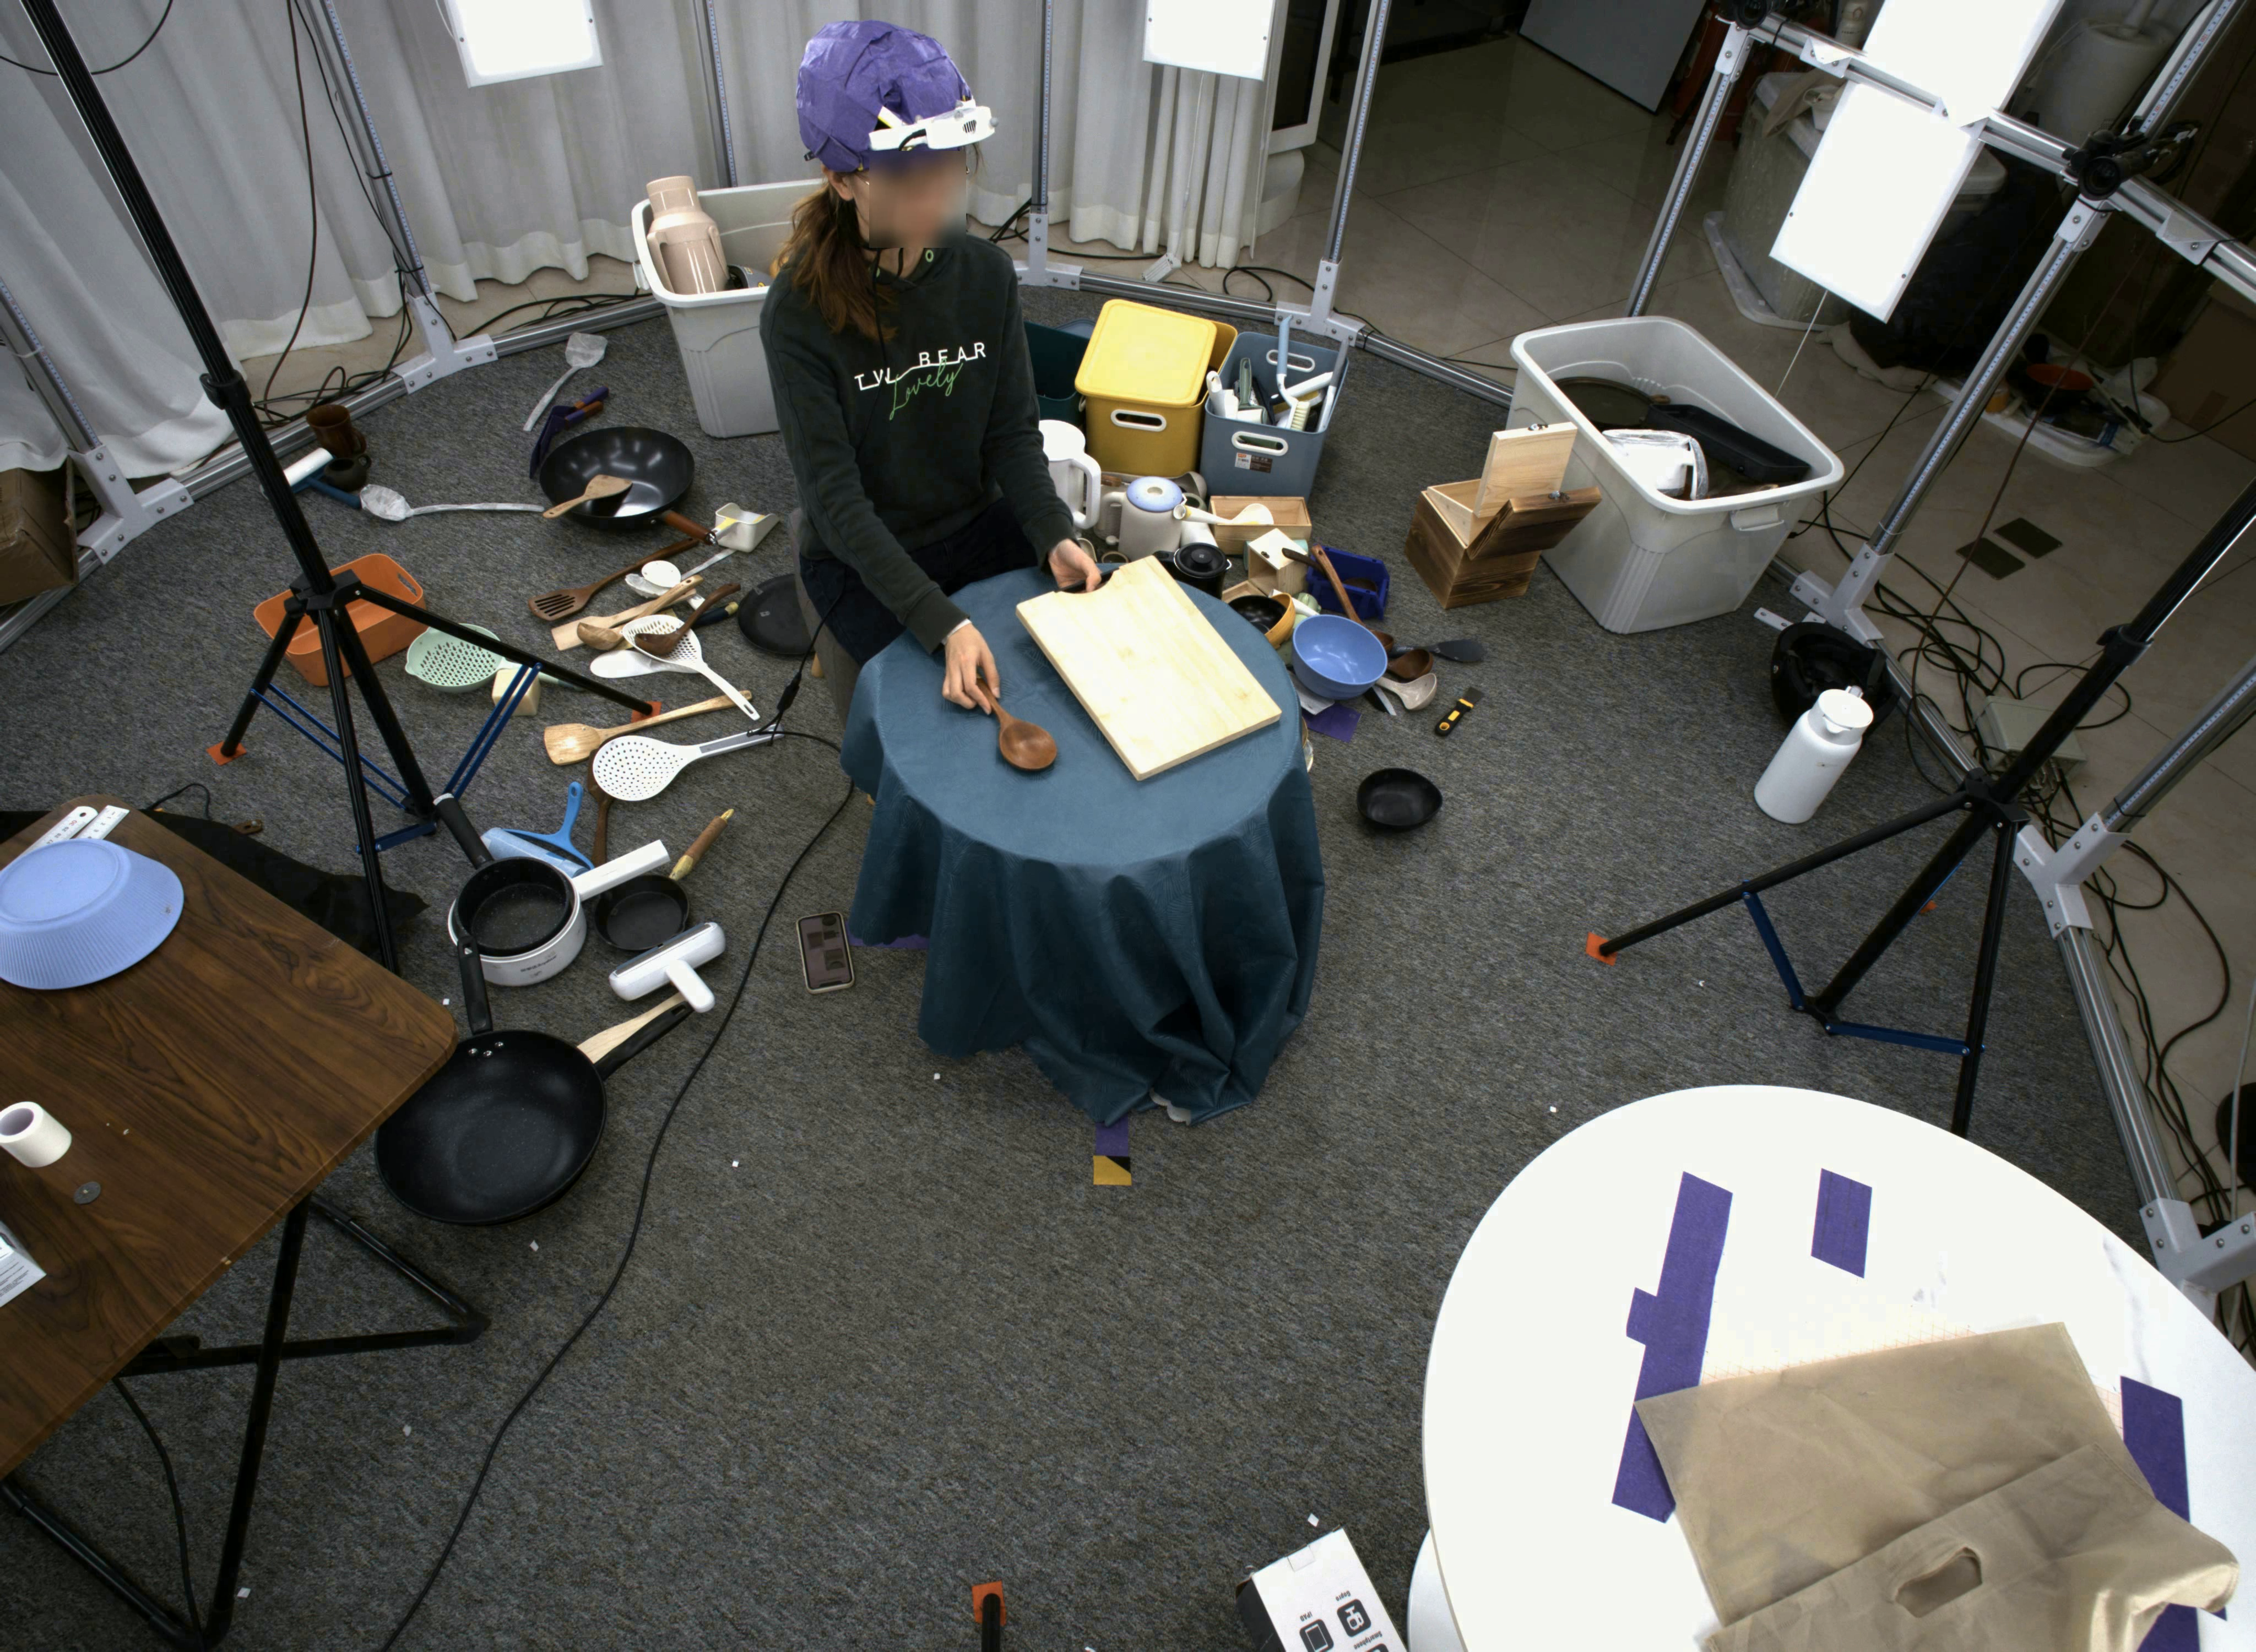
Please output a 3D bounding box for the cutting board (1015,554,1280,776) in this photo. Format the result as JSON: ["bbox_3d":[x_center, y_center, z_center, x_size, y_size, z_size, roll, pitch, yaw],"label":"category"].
[{"bbox_3d":[0.024,-0.240,1.858,0.252,0.023,0.355,-24,61,-23],"label":"cutting board"}]

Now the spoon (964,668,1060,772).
[{"bbox_3d":[-0.168,-0.149,1.788,0.076,0.017,0.220,-25,57,-21],"label":"spoon"}]
